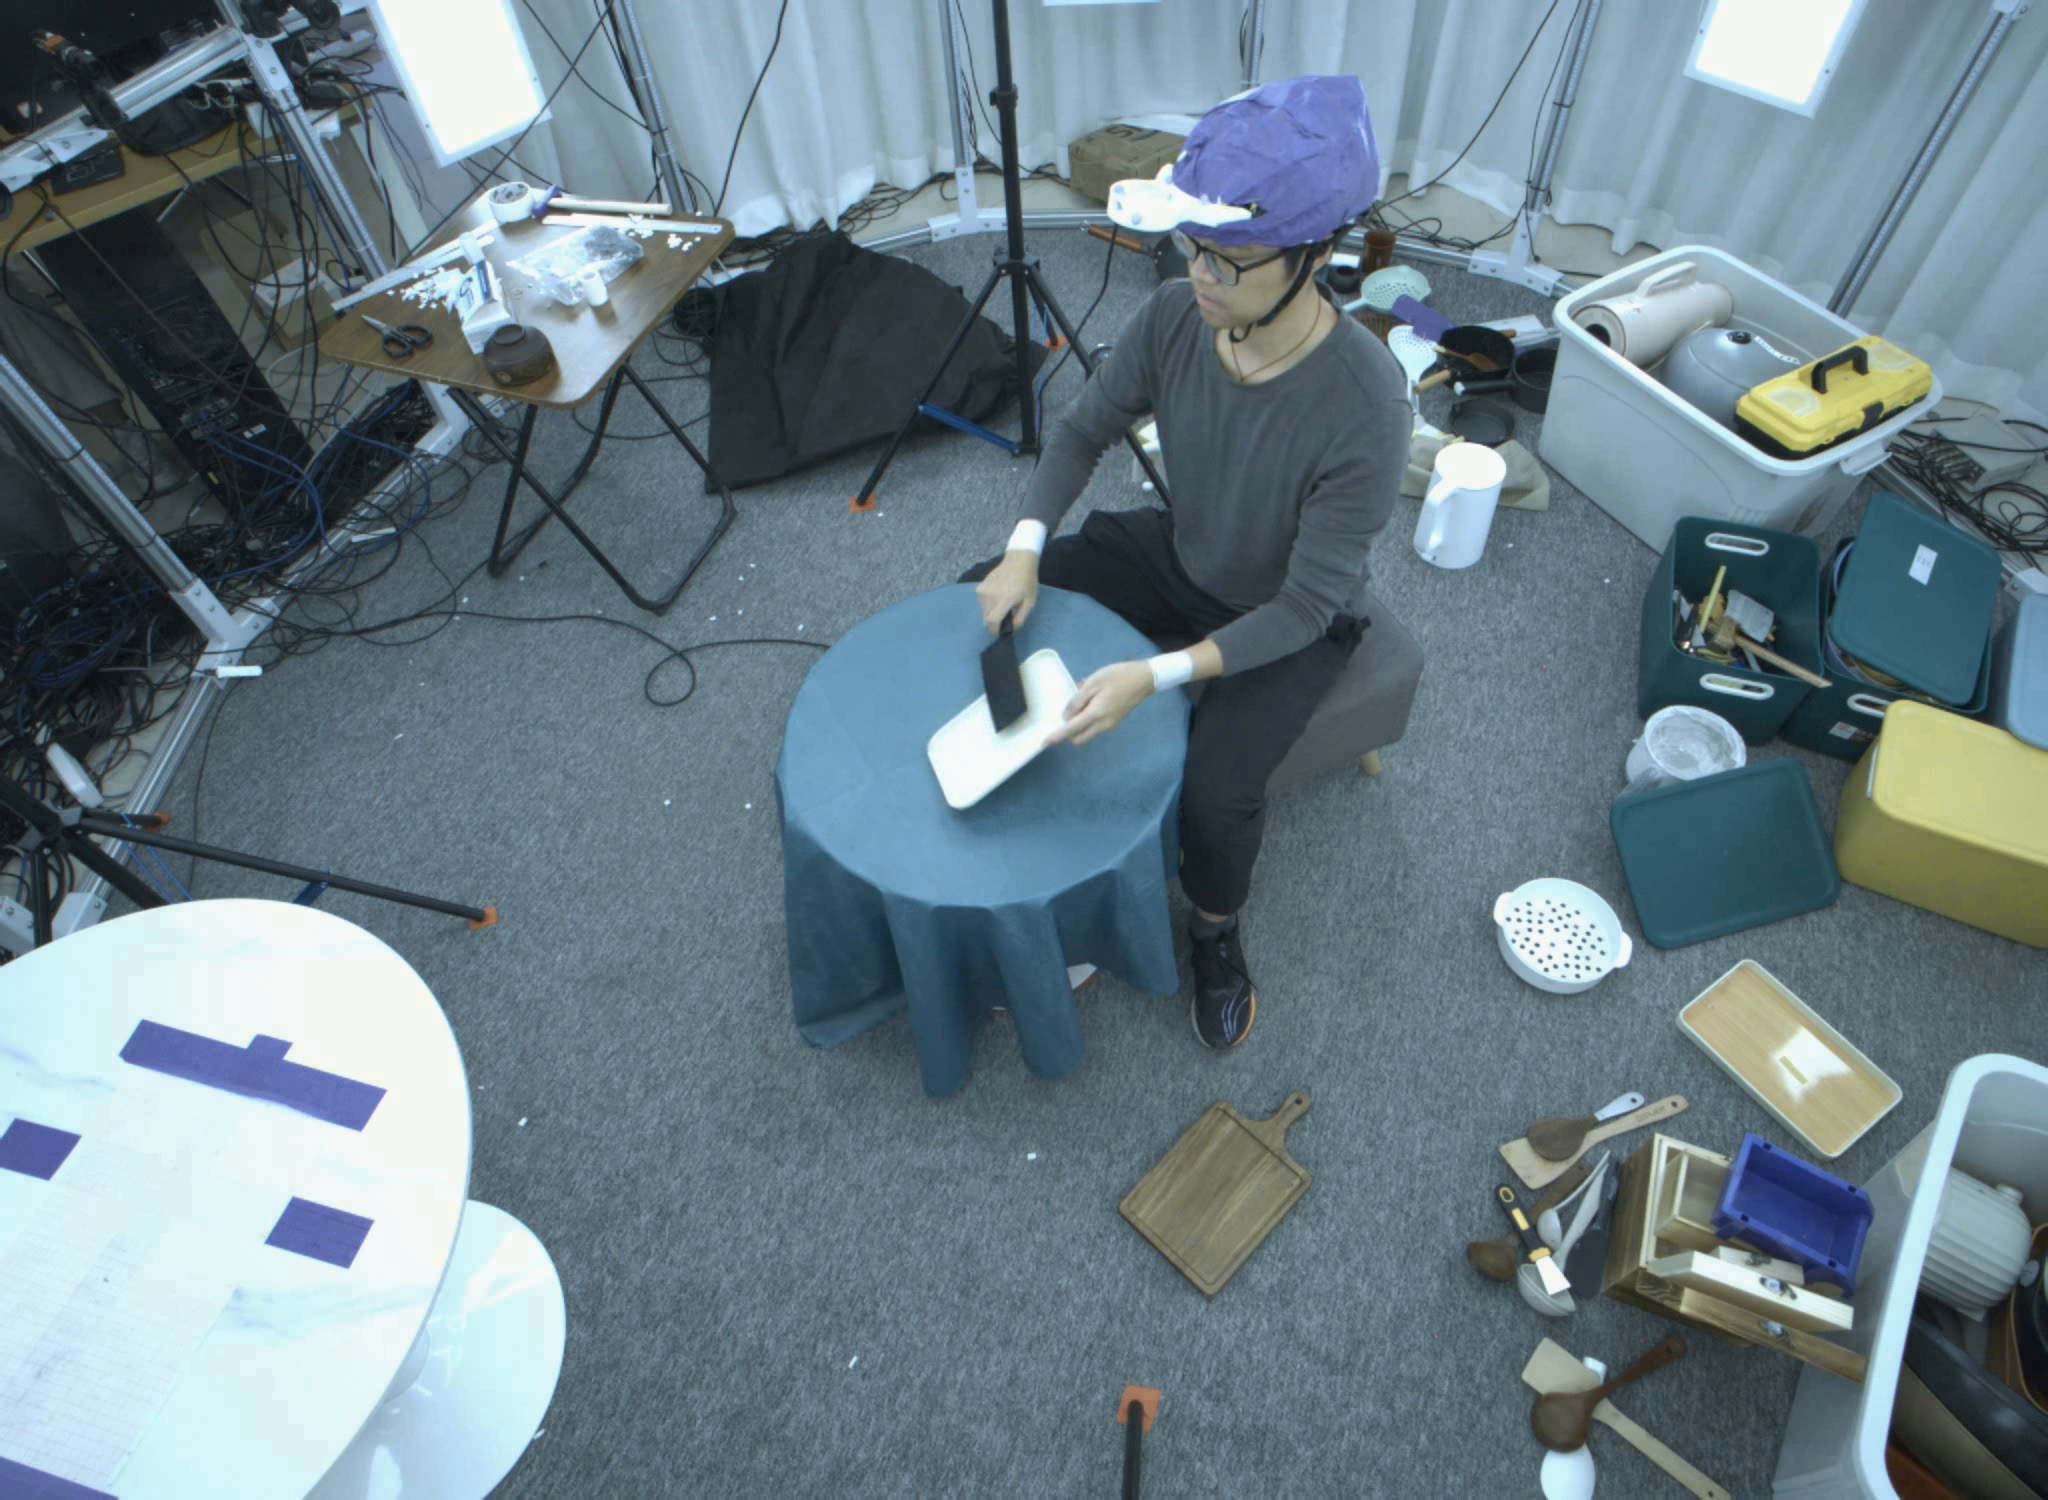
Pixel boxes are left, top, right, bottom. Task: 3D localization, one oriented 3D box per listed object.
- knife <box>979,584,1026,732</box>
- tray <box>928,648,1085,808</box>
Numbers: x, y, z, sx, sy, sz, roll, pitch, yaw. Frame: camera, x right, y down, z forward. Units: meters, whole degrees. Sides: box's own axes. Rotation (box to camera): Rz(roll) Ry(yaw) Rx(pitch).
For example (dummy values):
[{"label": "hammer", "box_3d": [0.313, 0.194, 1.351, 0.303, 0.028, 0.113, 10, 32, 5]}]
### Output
[{"label": "knife", "box_3d": [-0.037, -0.144, 1.809, 0.080, 0.021, 0.298, -33, 41, 27]}, {"label": "tray", "box_3d": [-0.027, -0.031, 1.730, 0.239, 0.018, 0.168, -38, 43, 9]}]
